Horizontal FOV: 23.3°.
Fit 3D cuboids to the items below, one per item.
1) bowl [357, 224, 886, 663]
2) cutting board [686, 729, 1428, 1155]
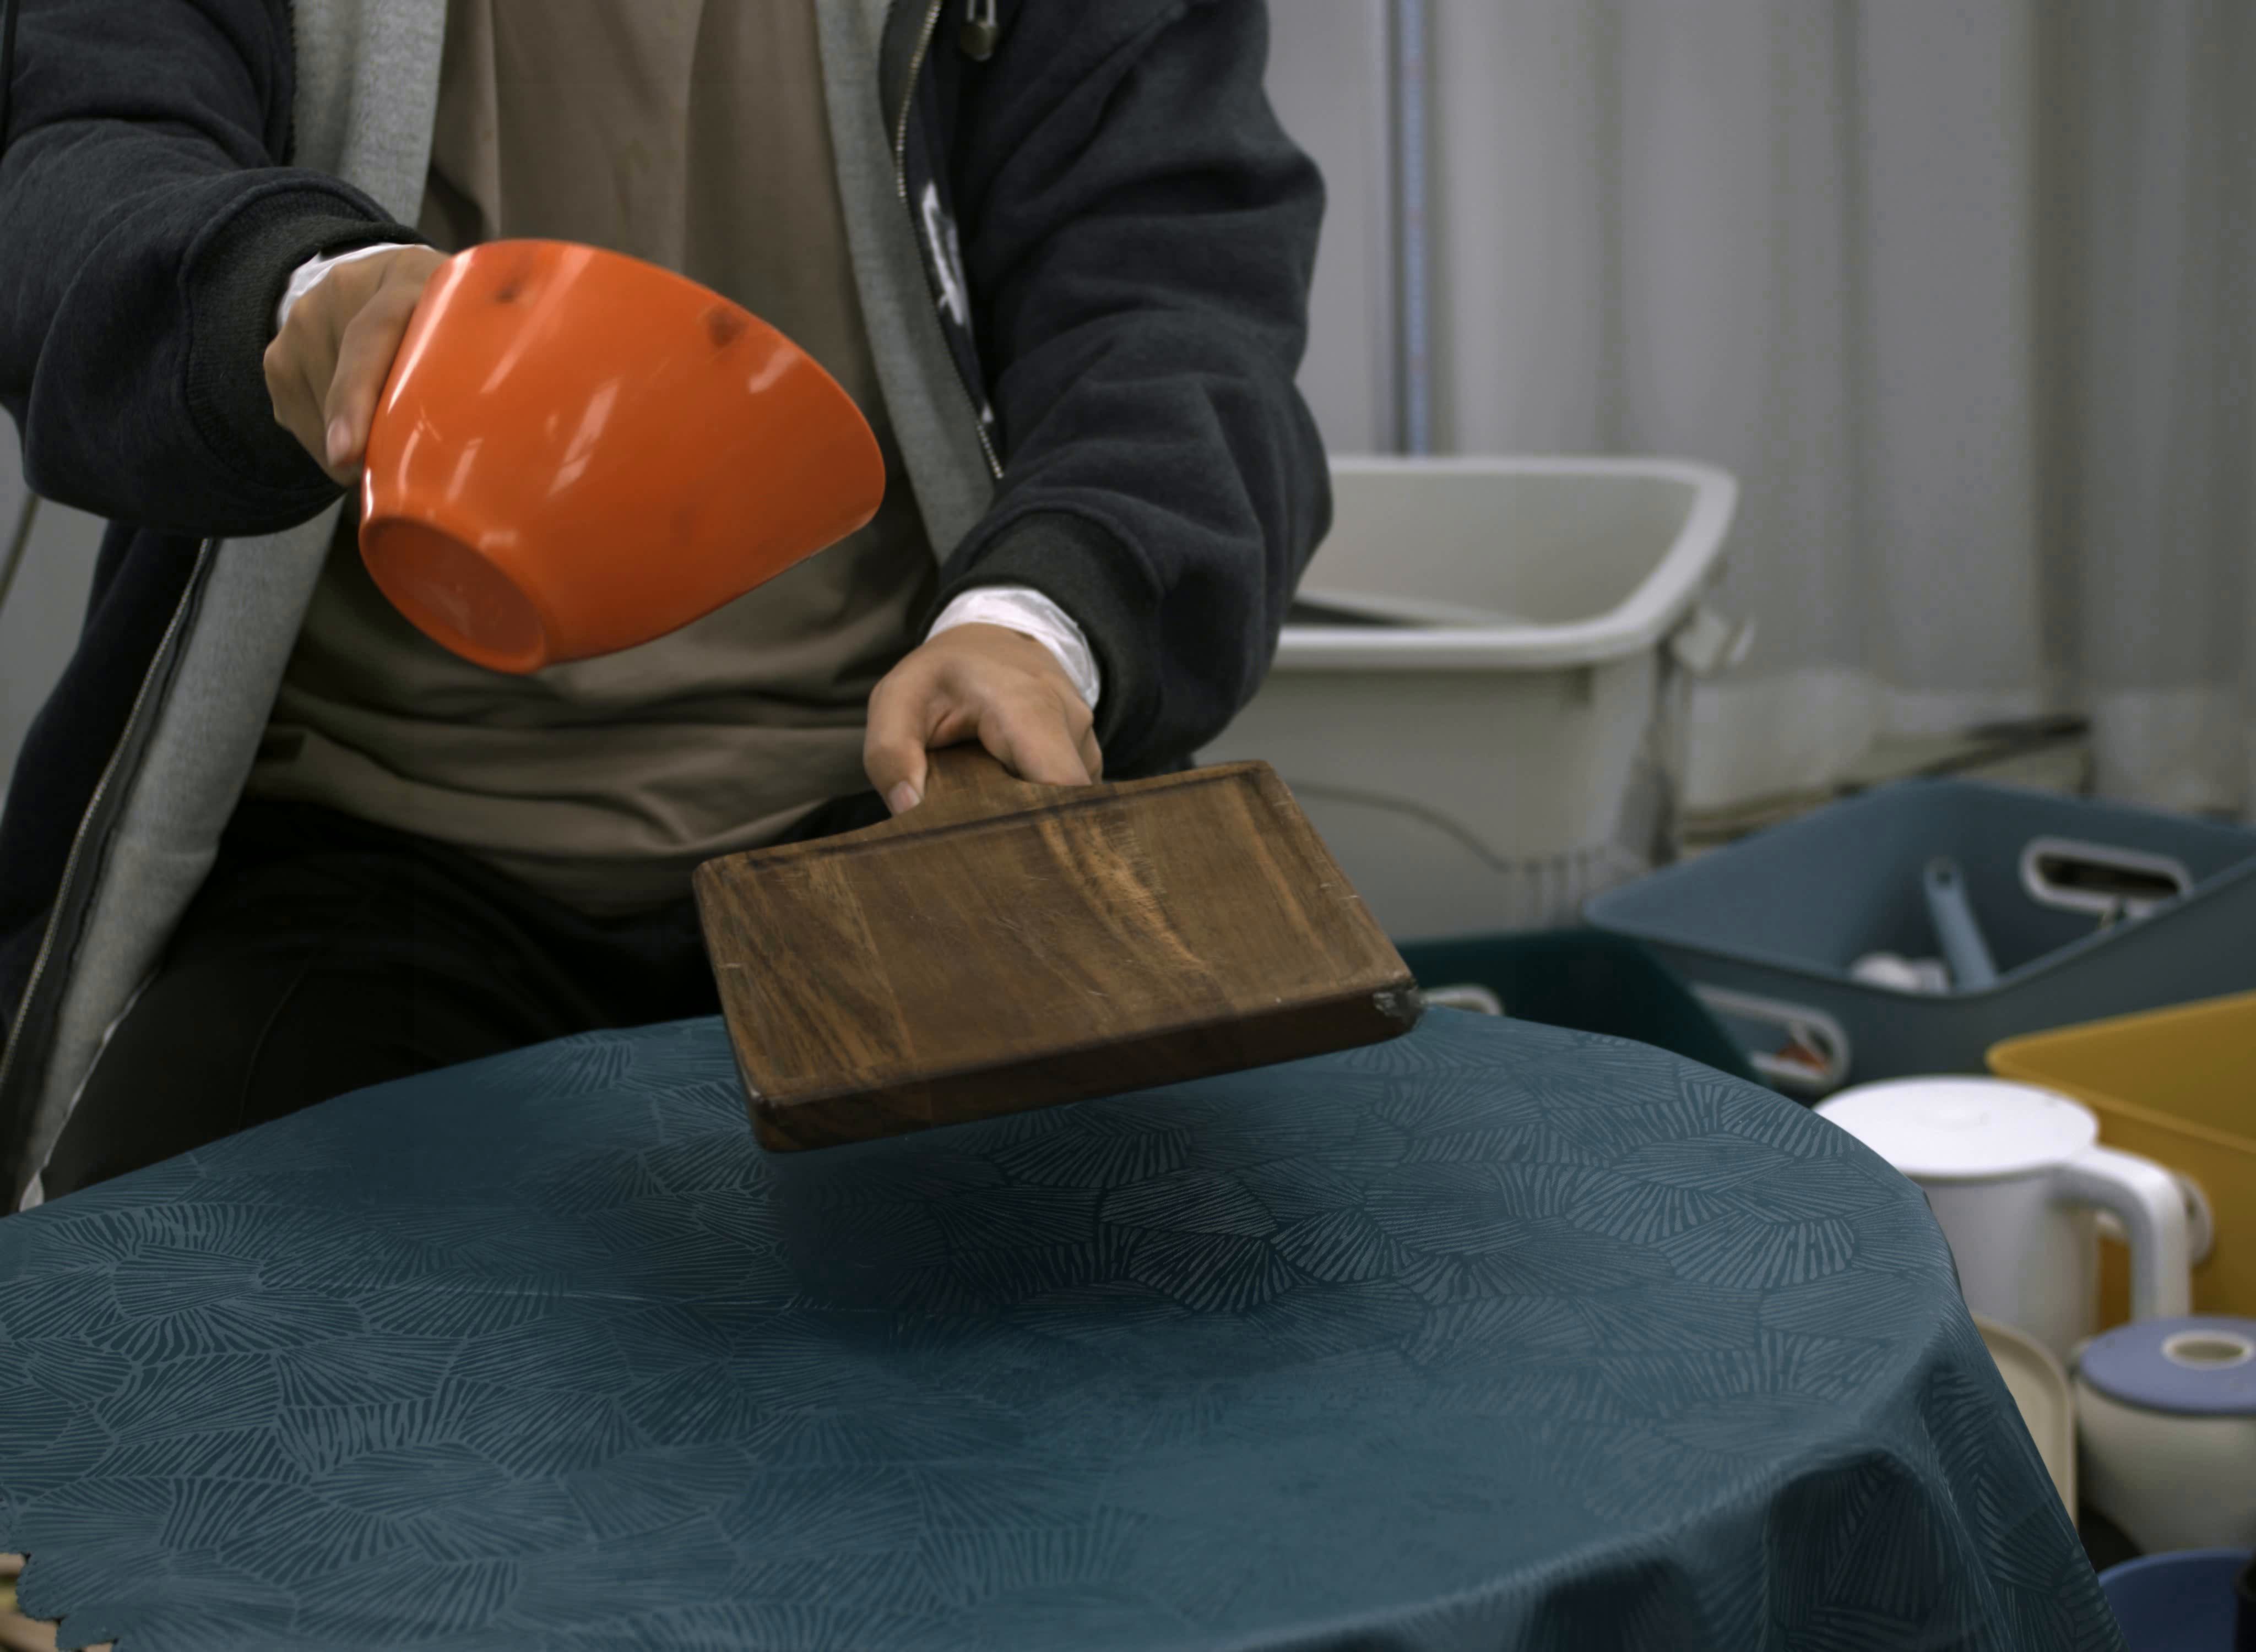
[{"bbox_3d":[-0.160,-0.100,1.607,0.149,0.146,0.105,10,51,39],"label":"bowl"},{"bbox_3d":[-0.036,0.022,1.732,0.200,0.023,0.355,-10,17,-6],"label":"cutting board"}]
